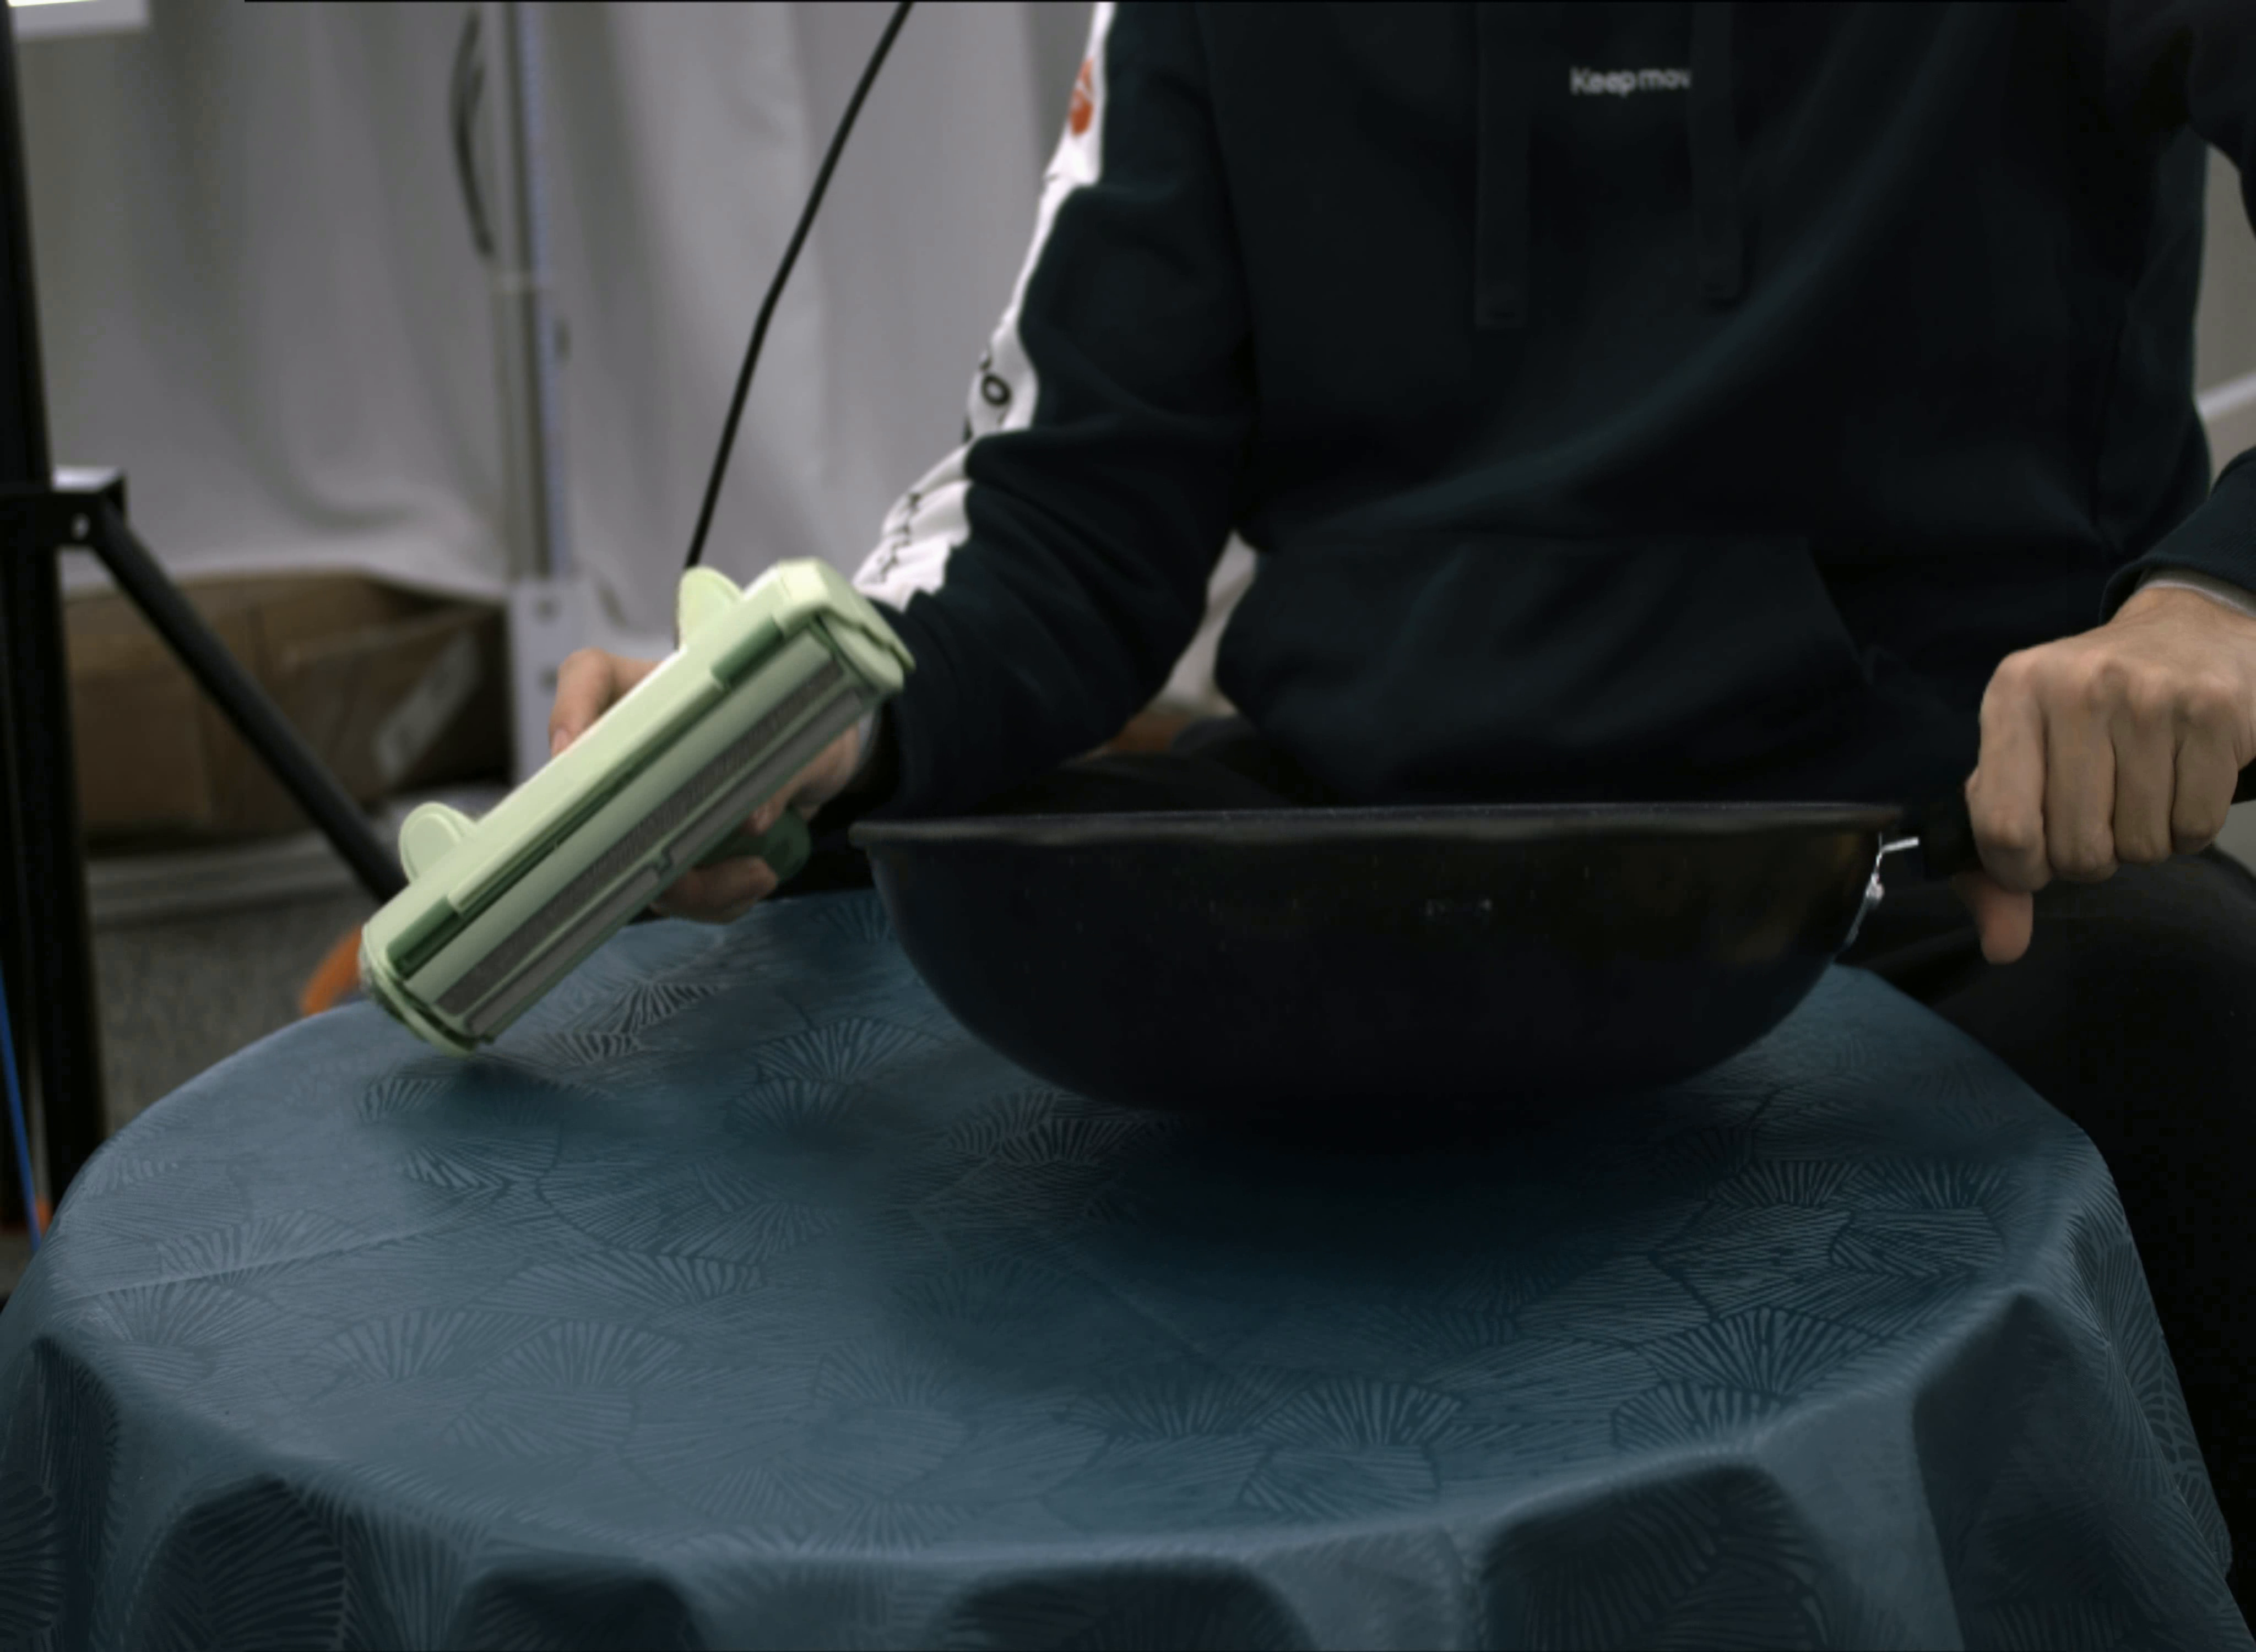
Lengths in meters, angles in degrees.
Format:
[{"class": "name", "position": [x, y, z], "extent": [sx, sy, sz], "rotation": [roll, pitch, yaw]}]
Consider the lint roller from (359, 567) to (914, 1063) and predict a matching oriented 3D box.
[{"class": "lint roller", "position": [-0.153, -0.013, 1.736], "extent": [0.199, 0.082, 0.182], "rotation": [-39, -2, 10]}]

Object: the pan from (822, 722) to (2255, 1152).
[{"class": "pan", "position": [0.148, 0.030, 1.562], "extent": [0.473, 0.112, 0.311], "rotation": [-2, 3, -4]}]
